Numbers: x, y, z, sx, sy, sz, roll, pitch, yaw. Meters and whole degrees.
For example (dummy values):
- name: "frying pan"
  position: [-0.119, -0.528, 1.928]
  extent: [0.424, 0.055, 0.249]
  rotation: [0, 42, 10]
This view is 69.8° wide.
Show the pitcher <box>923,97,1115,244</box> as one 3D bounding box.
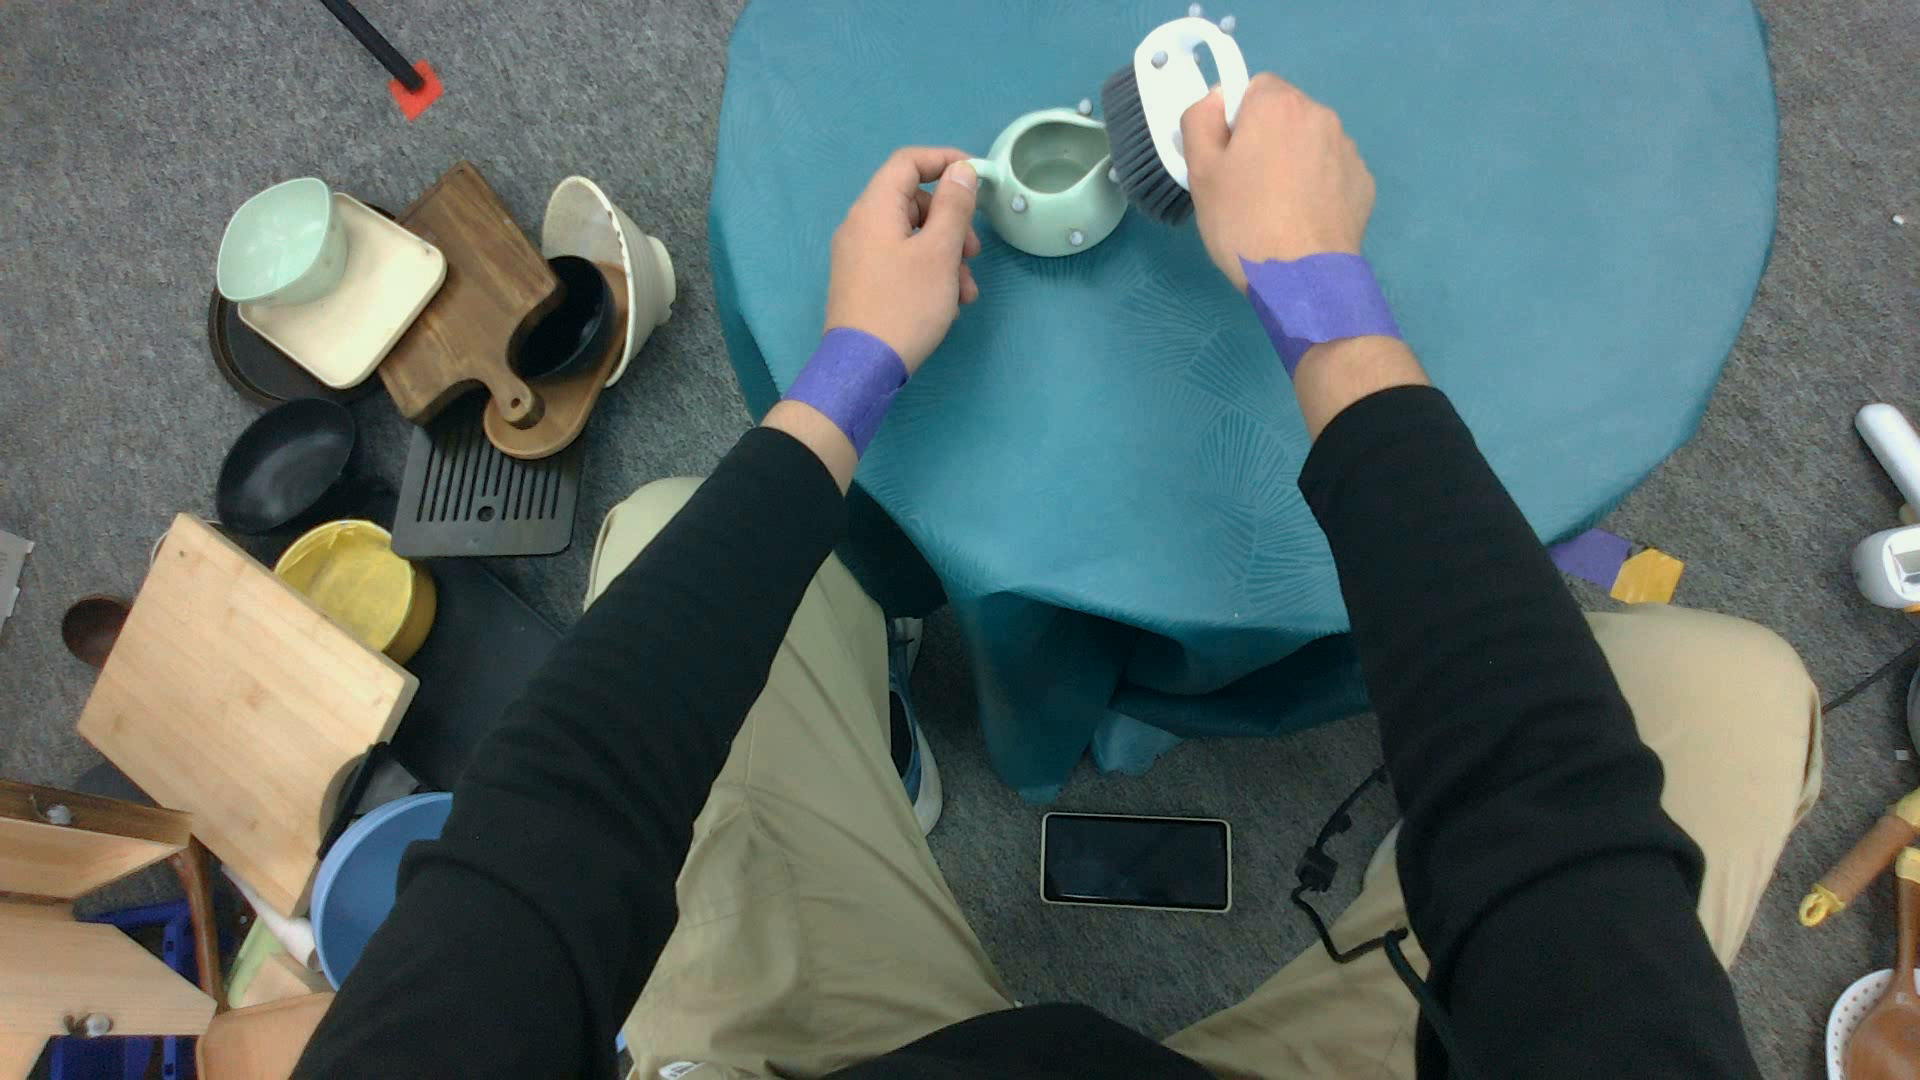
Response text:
- name: "pitcher"
  position: [0.033, -0.205, 0.764]
  extent: [0.108, 0.060, 0.086]
  rotation: [-15, 73, 6]

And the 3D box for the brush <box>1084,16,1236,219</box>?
- name: "brush"
  position: [0.110, -0.227, 0.716]
  extent: [0.050, 0.072, 0.099]
  rotation: [12, 56, -35]
